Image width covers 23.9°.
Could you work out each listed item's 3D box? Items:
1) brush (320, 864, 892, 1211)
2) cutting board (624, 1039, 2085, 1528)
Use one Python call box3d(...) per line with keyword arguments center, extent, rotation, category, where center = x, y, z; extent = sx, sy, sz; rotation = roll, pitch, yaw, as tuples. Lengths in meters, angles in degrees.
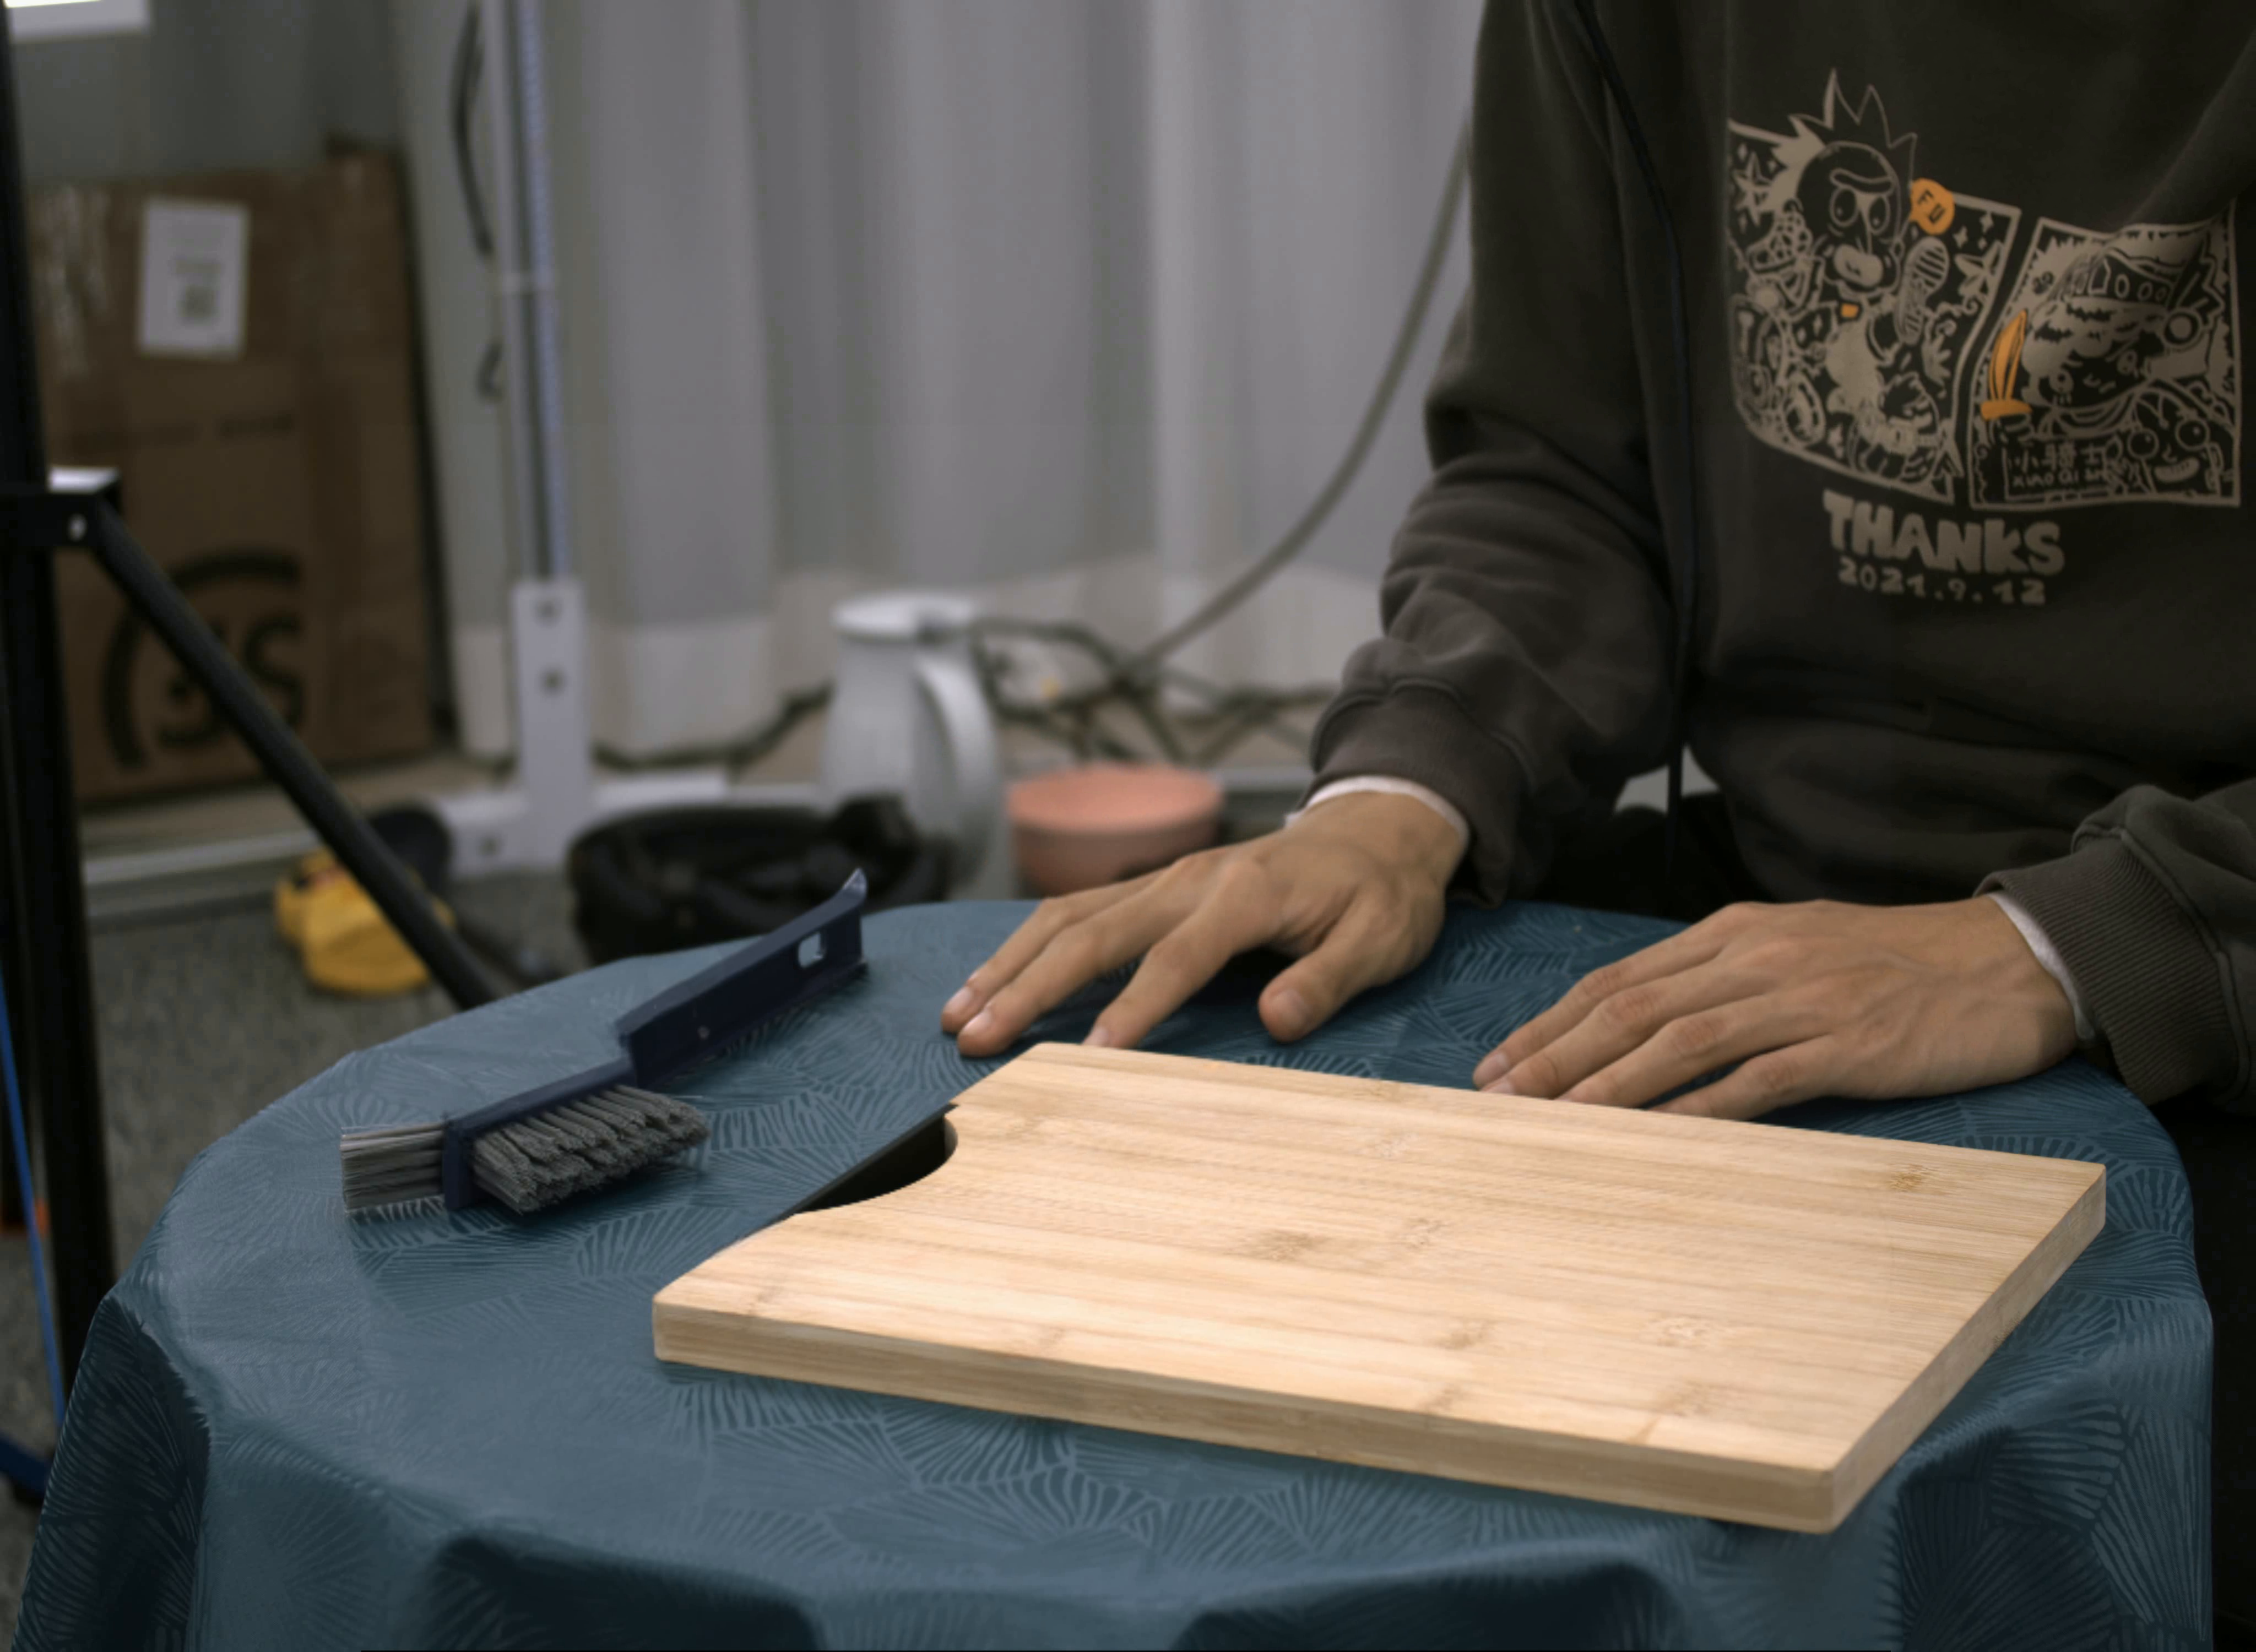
box3d(center=(-0.153, 0.066, 1.681), extent=(0.097, 0.033, 0.270), rotation=(3, 18, 19), category="brush")
box3d(center=(0.067, 0.121, 1.475), extent=(0.354, 0.023, 0.247), rotation=(5, 17, 26), category="cutting board")
